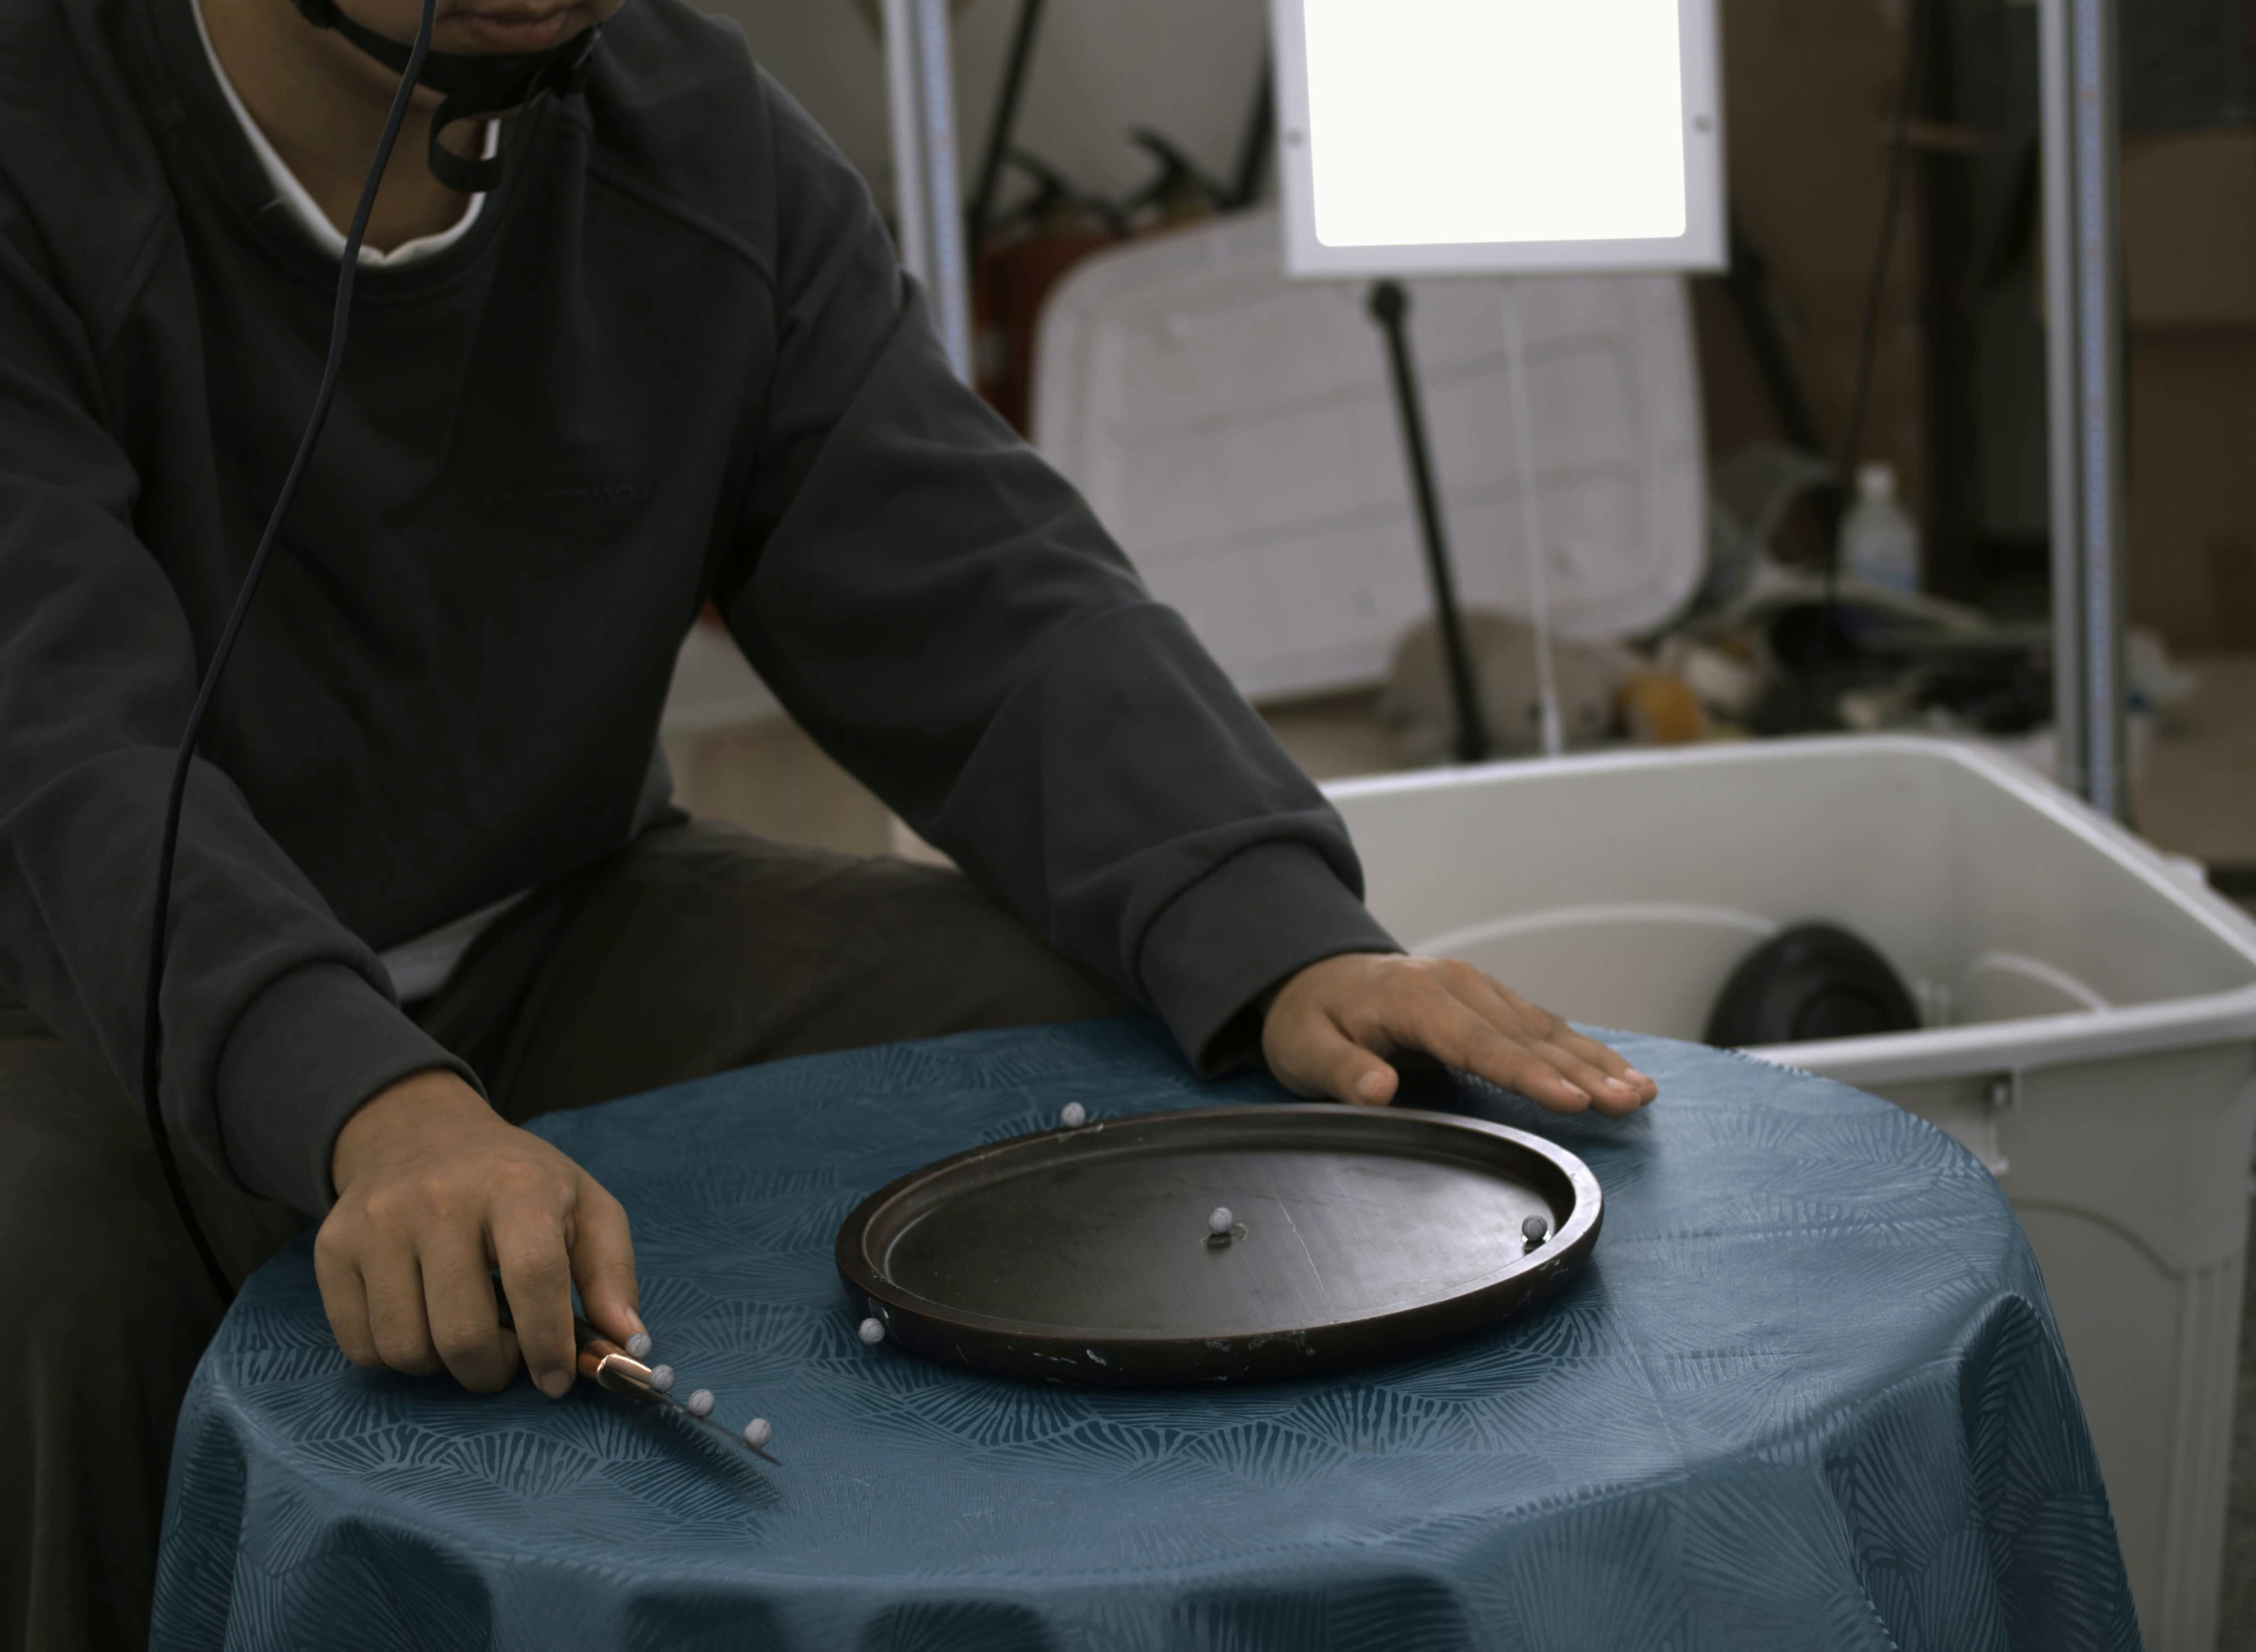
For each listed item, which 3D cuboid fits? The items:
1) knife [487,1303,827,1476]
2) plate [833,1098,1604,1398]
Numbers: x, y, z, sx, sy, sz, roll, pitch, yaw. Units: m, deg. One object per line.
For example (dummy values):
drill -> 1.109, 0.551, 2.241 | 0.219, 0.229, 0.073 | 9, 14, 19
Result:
knife -> -0.149, 0.175, 1.719 | 0.026, 0.017, 0.229 | 29, -8, -29
plate -> 0.030, 0.136, 1.800 | 0.254, 0.029, 0.254 | -6, 13, 0
